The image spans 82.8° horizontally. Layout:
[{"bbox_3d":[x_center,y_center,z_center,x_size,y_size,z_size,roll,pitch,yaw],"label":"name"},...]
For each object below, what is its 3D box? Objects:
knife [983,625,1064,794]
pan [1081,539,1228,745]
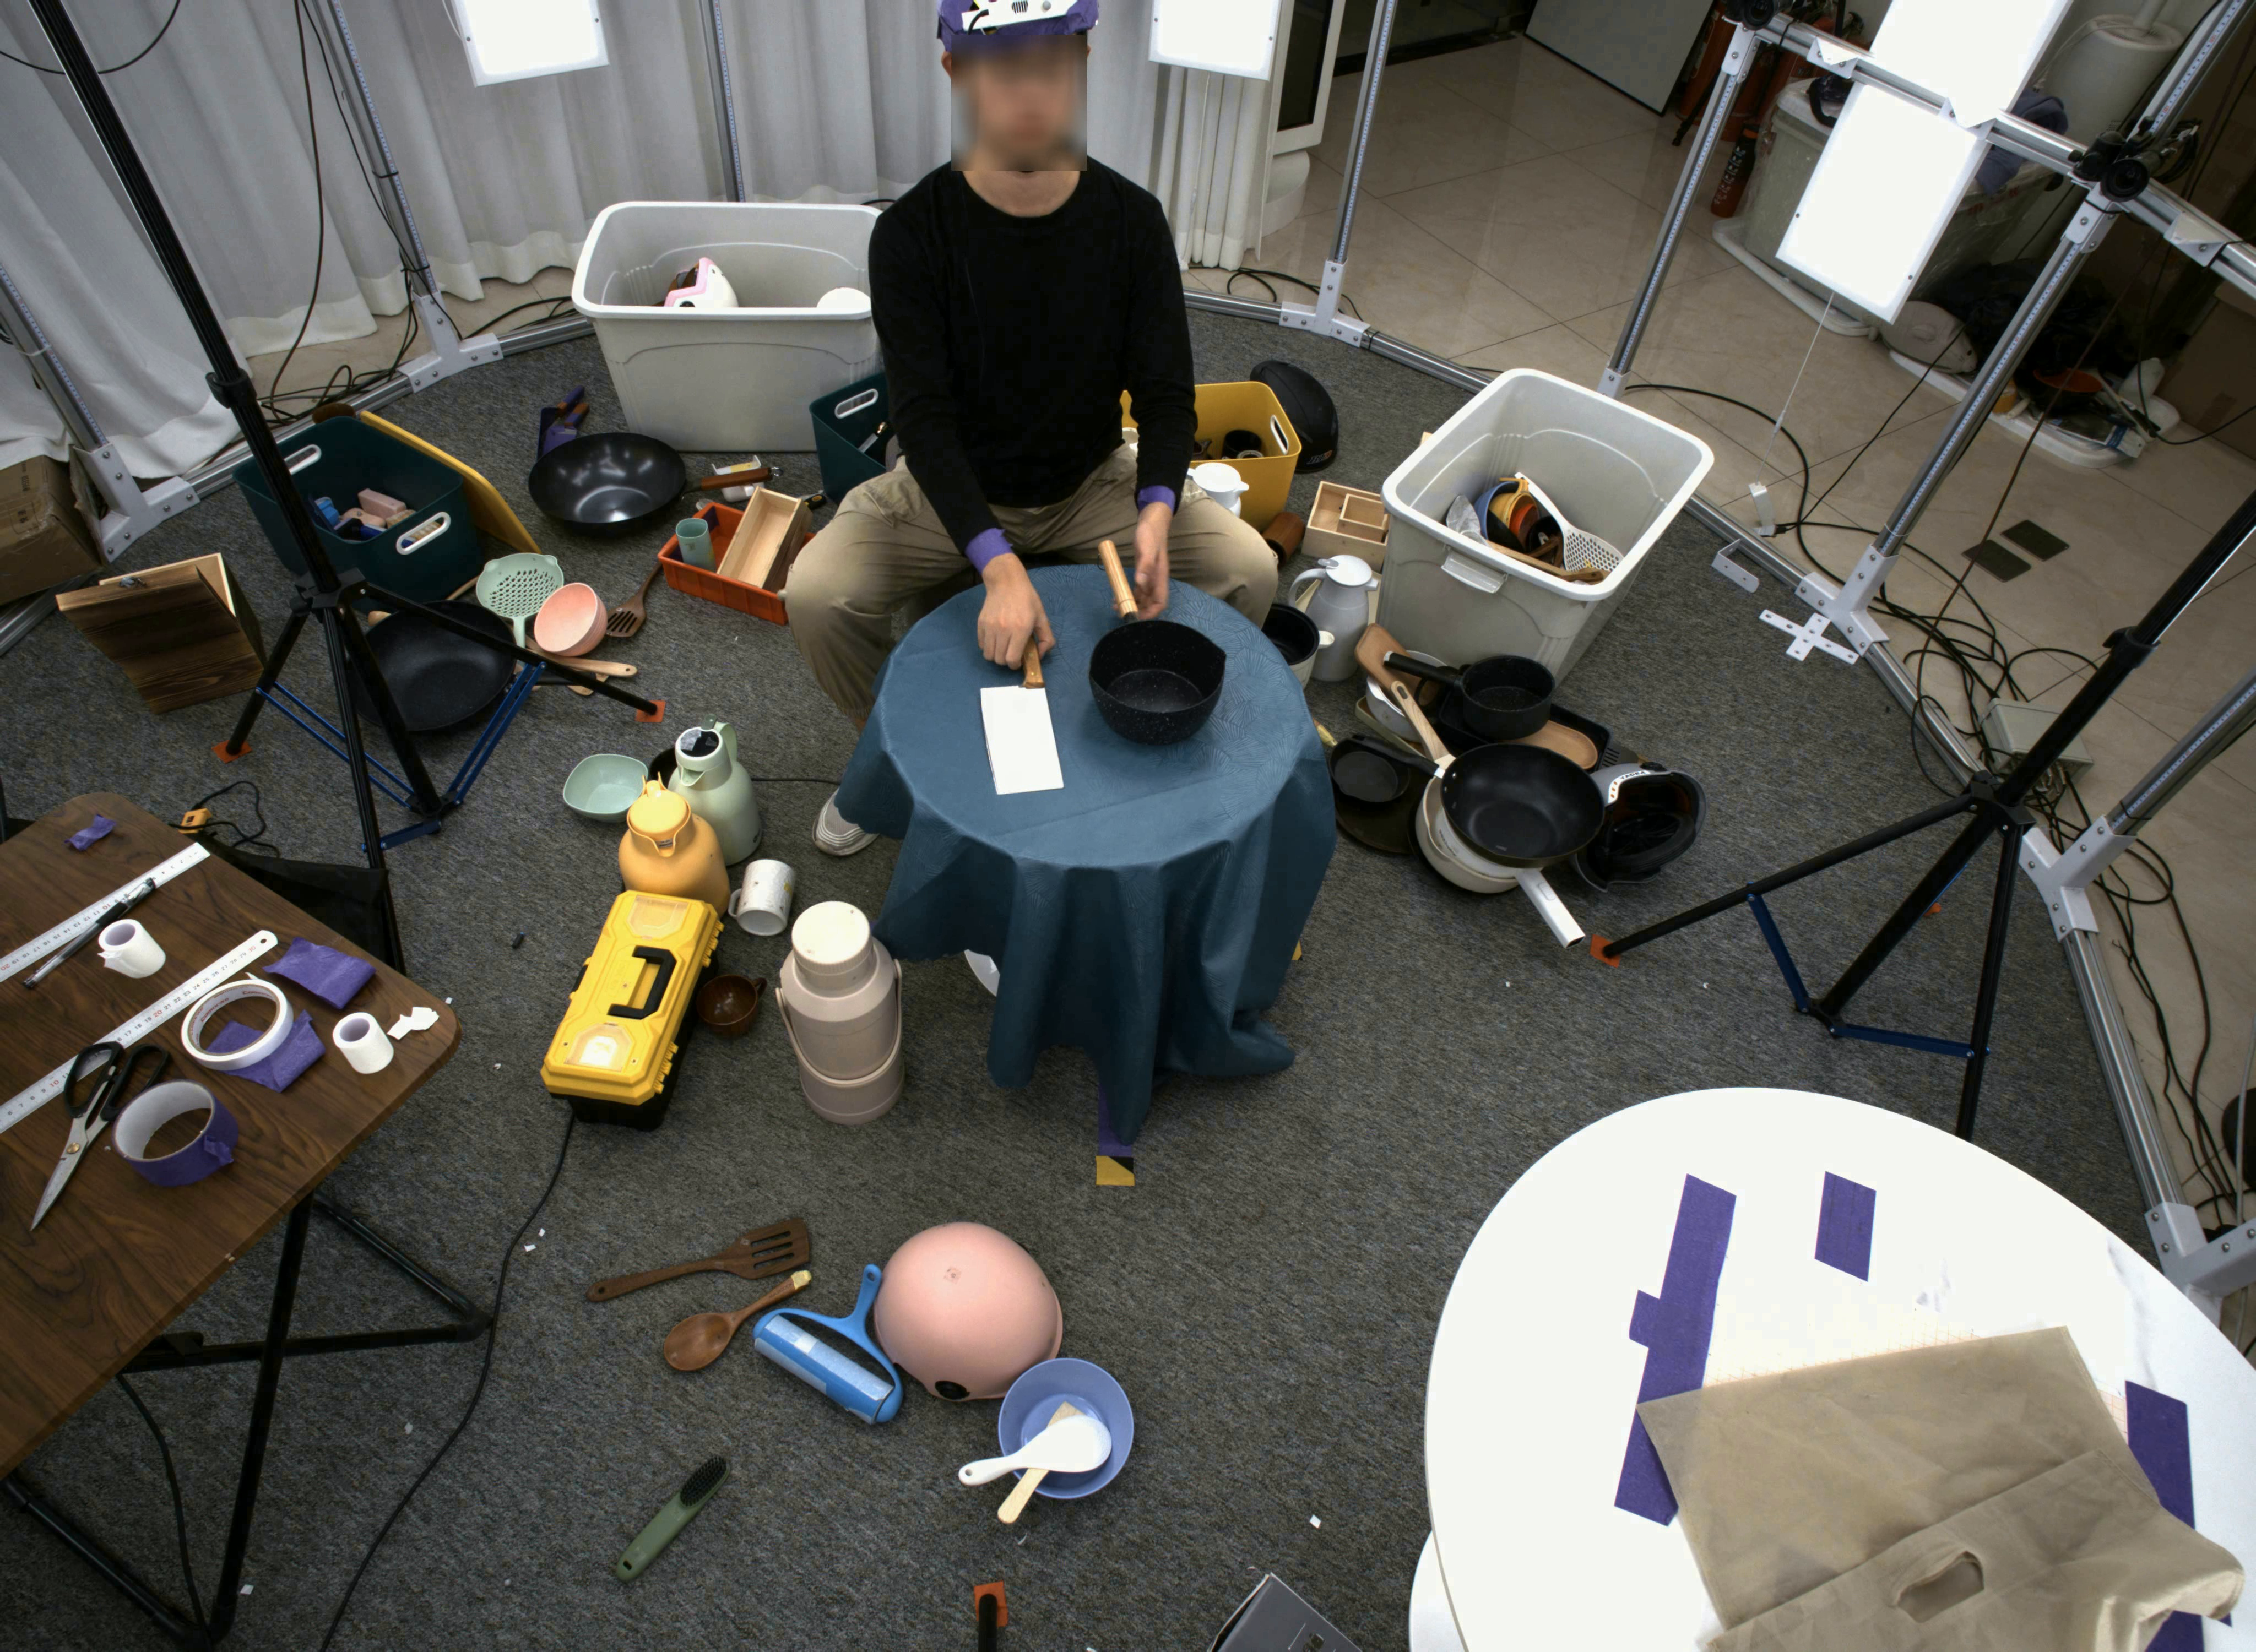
[{"bbox_3d":[-0.154,-0.167,1.793,0.093,0.020,0.313,-6,53,-8],"label":"knife"},{"bbox_3d":[0.013,-0.262,1.829,0.207,0.105,0.351,-12,52,-14],"label":"pan"}]
